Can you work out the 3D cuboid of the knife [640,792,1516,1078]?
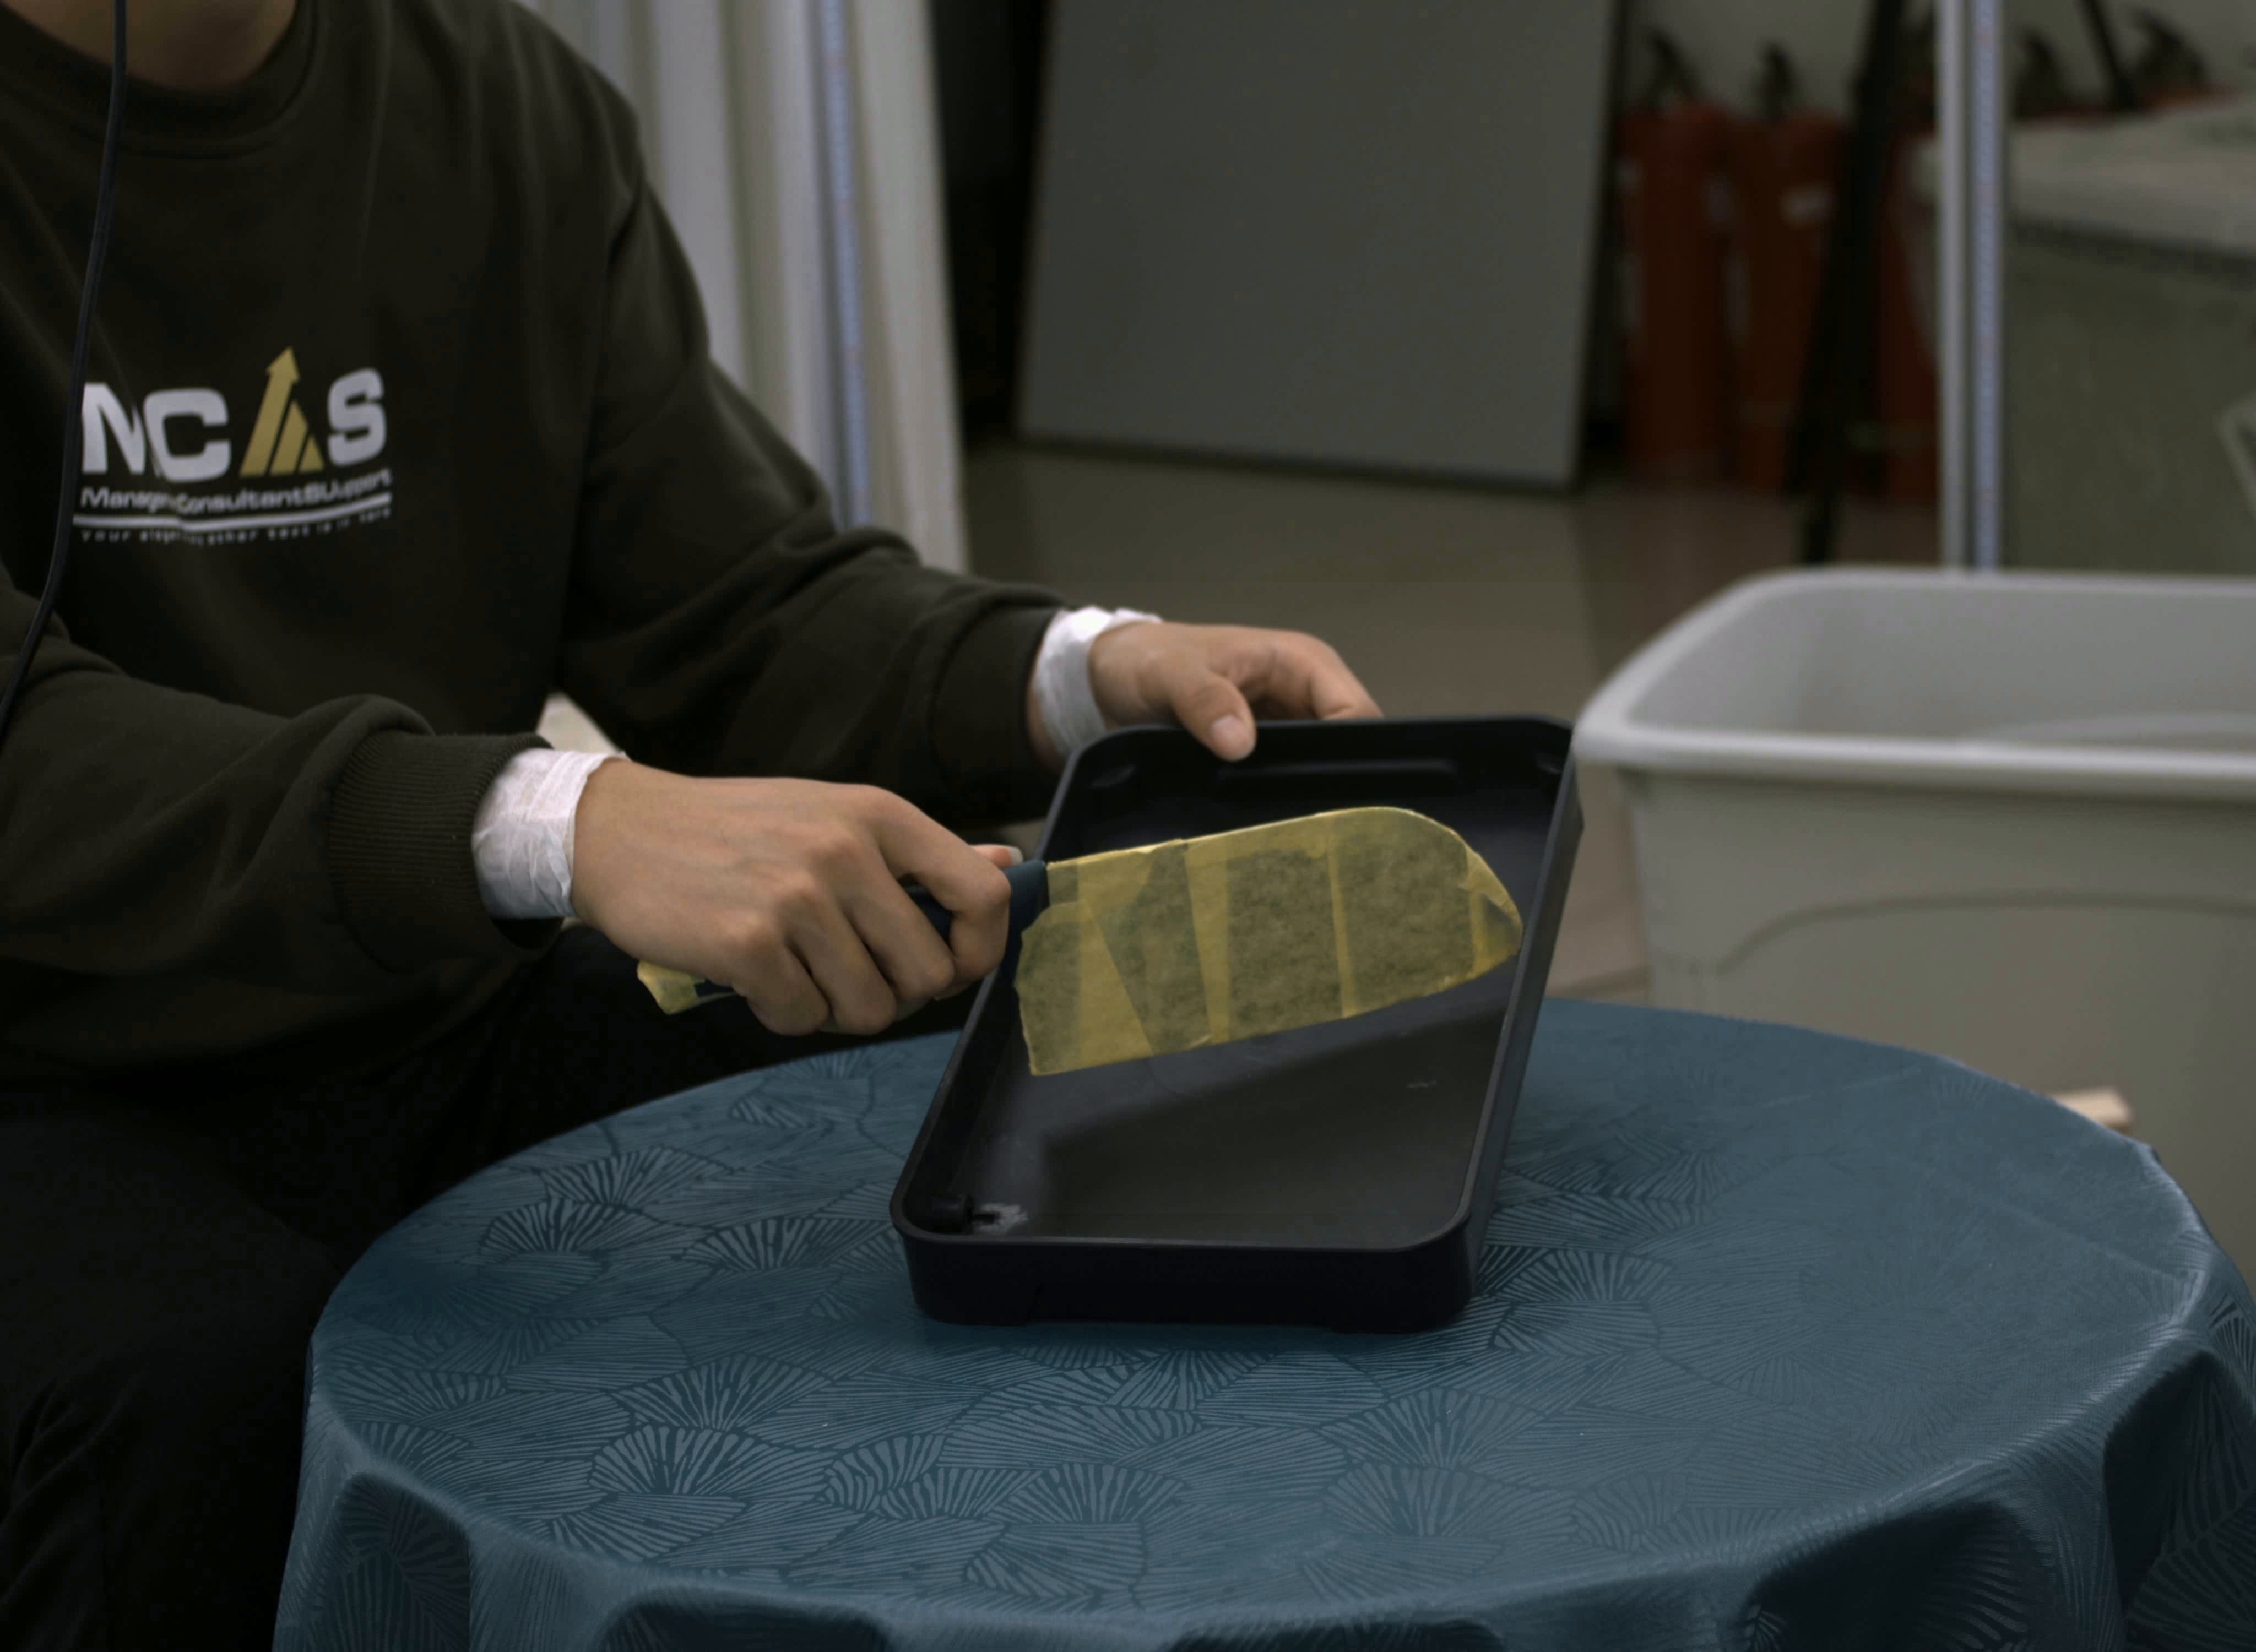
[{"bbox_3d":[-0.013,0.040,1.733,0.285,0.082,0.027,-7,16,-7],"label":"knife"}]

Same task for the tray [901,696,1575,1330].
[{"bbox_3d":[0.044,0.056,1.762,0.183,0.037,0.318,-4,31,14],"label":"tray"}]
